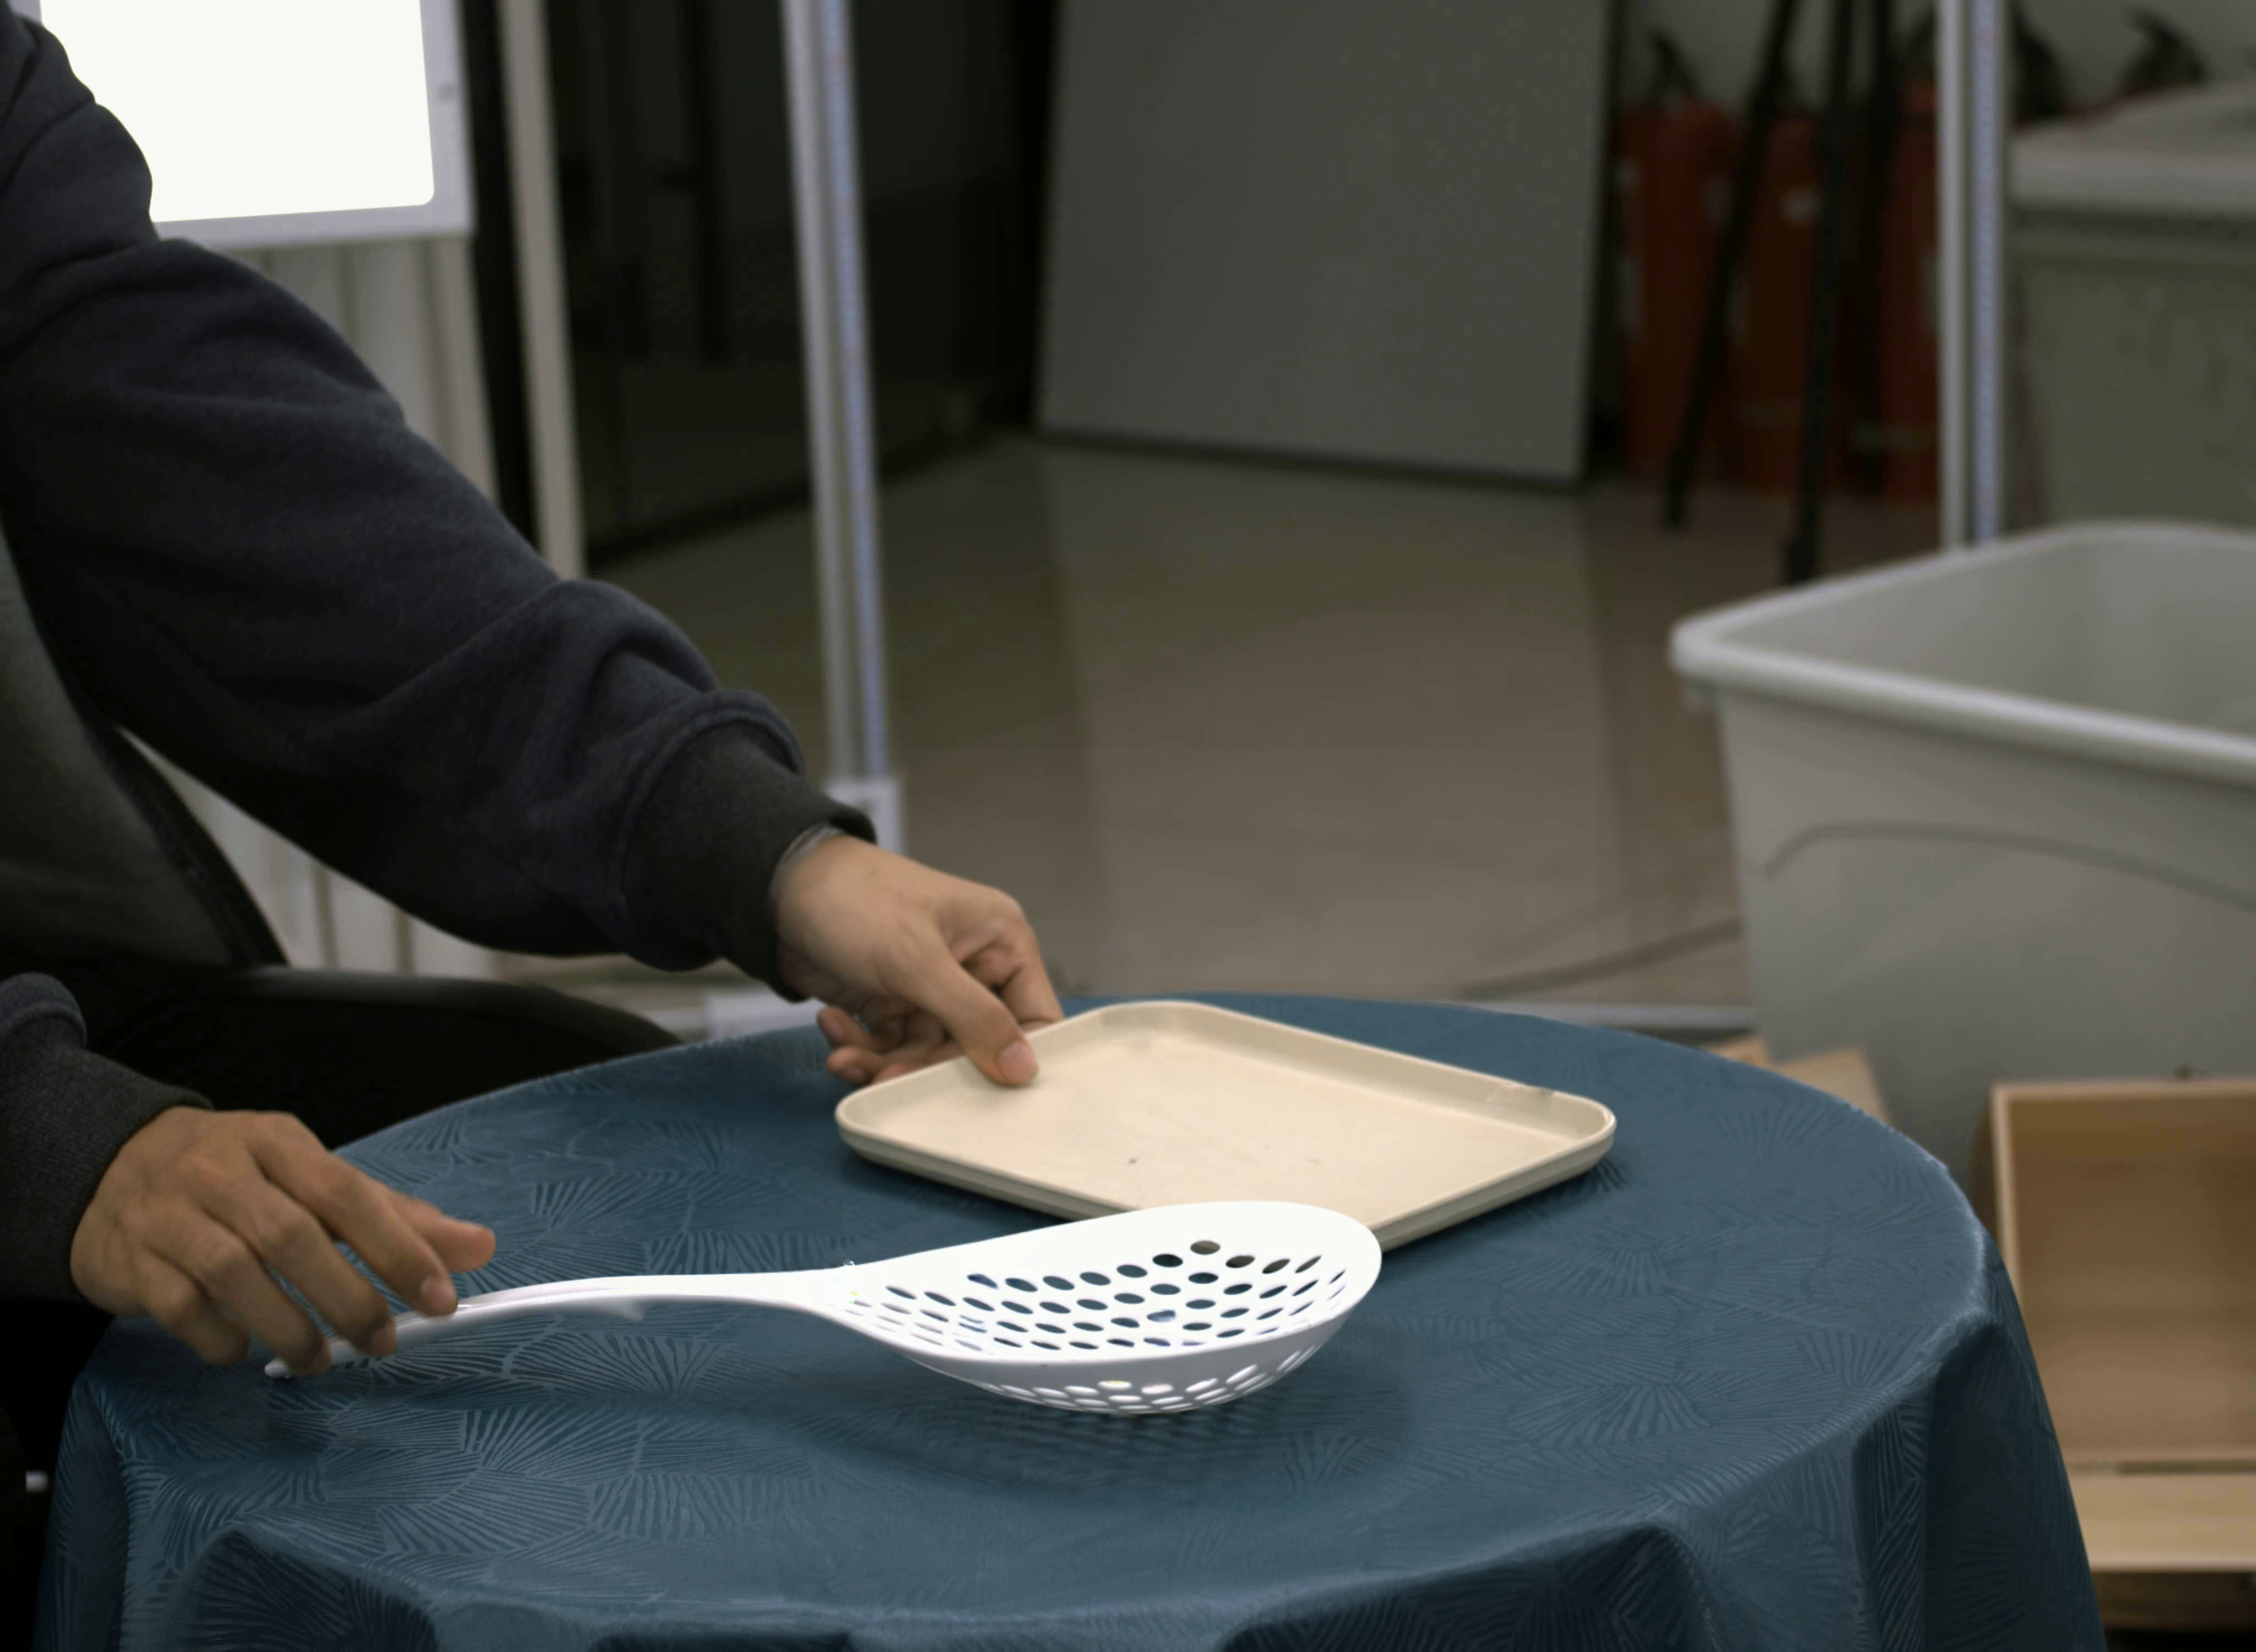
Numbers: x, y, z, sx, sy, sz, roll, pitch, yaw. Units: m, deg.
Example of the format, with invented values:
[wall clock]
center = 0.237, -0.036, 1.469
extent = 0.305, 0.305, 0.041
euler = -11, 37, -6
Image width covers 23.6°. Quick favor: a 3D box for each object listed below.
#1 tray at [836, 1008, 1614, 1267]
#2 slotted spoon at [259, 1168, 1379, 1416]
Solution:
[tray]
center = 0.031, 0.104, 1.791
extent = 0.168, 0.017, 0.242
euler = -17, 19, -41
[slotted spoon]
center = -0.094, 0.148, 1.600
extent = 0.346, 0.051, 0.136
euler = -1, 17, 14
